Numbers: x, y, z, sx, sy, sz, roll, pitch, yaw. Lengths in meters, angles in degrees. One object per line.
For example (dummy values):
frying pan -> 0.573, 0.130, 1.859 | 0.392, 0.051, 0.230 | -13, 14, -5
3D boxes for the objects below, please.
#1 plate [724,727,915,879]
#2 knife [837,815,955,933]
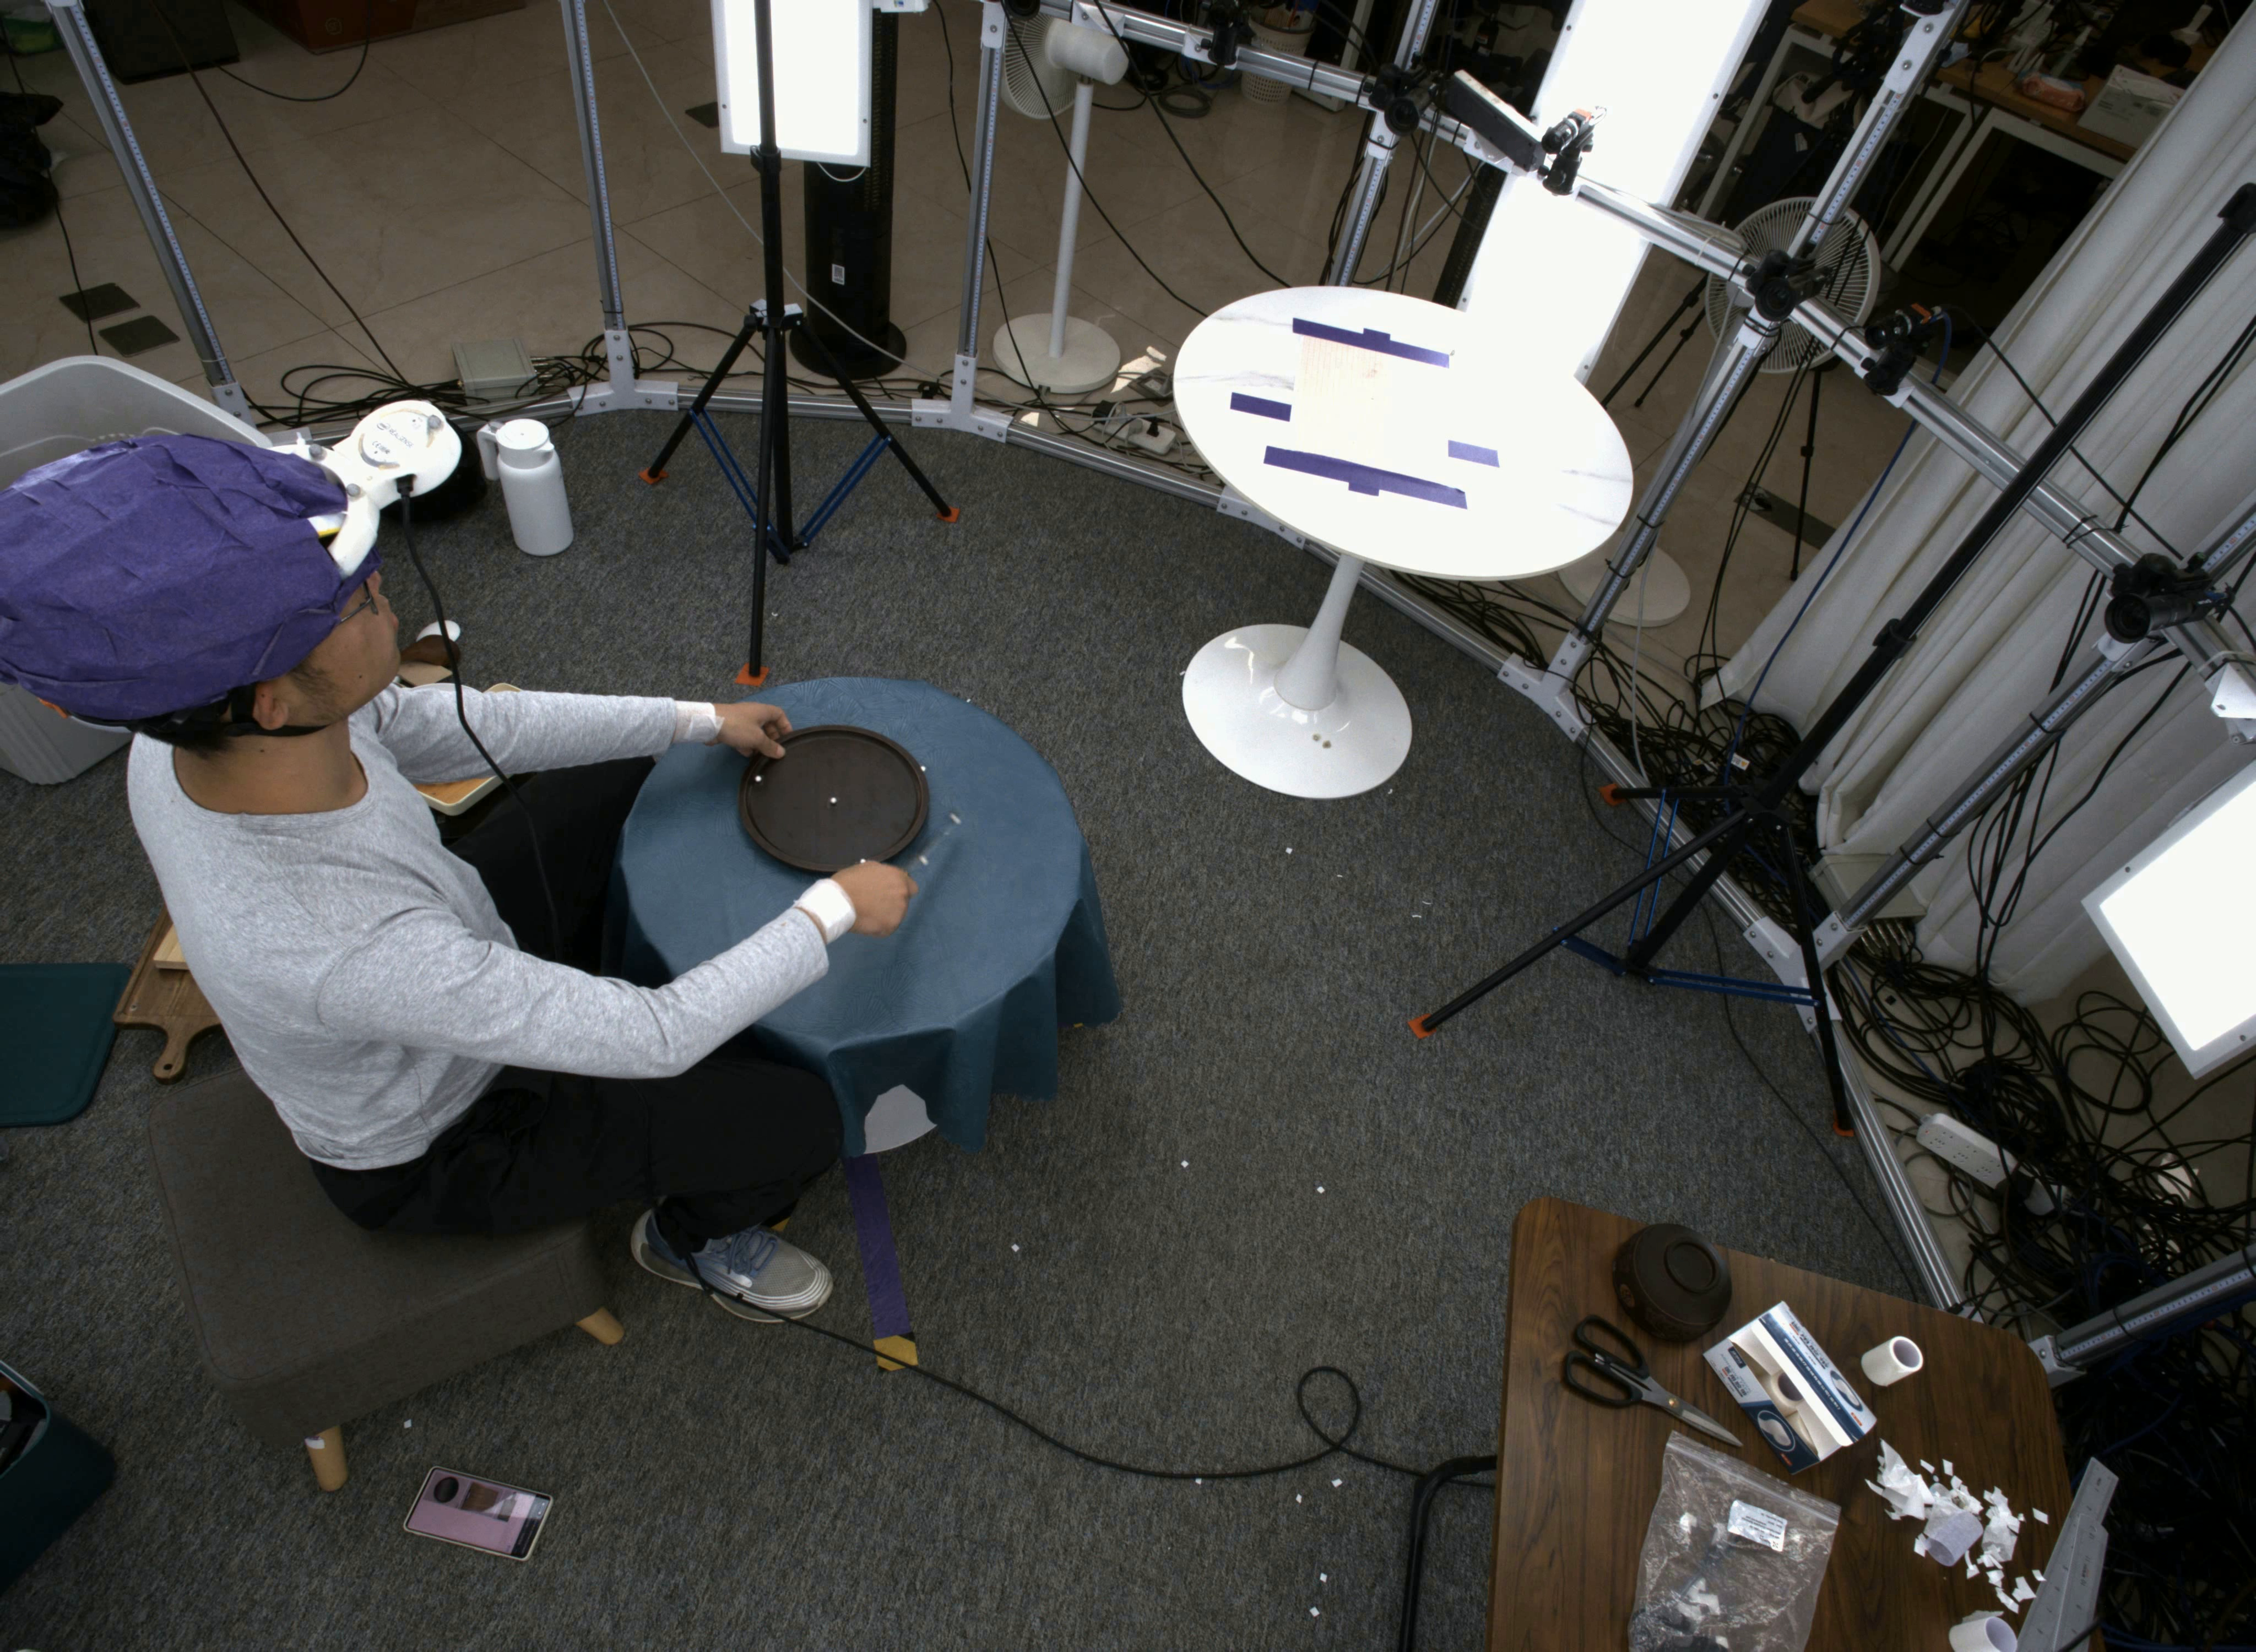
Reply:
plate -> -0.414, -0.034, 1.747 | 0.254, 0.029, 0.250 | 8, 55, -9
knife -> -0.285, 0.052, 1.637 | 0.020, 0.051, 0.288 | 33, 35, 4
